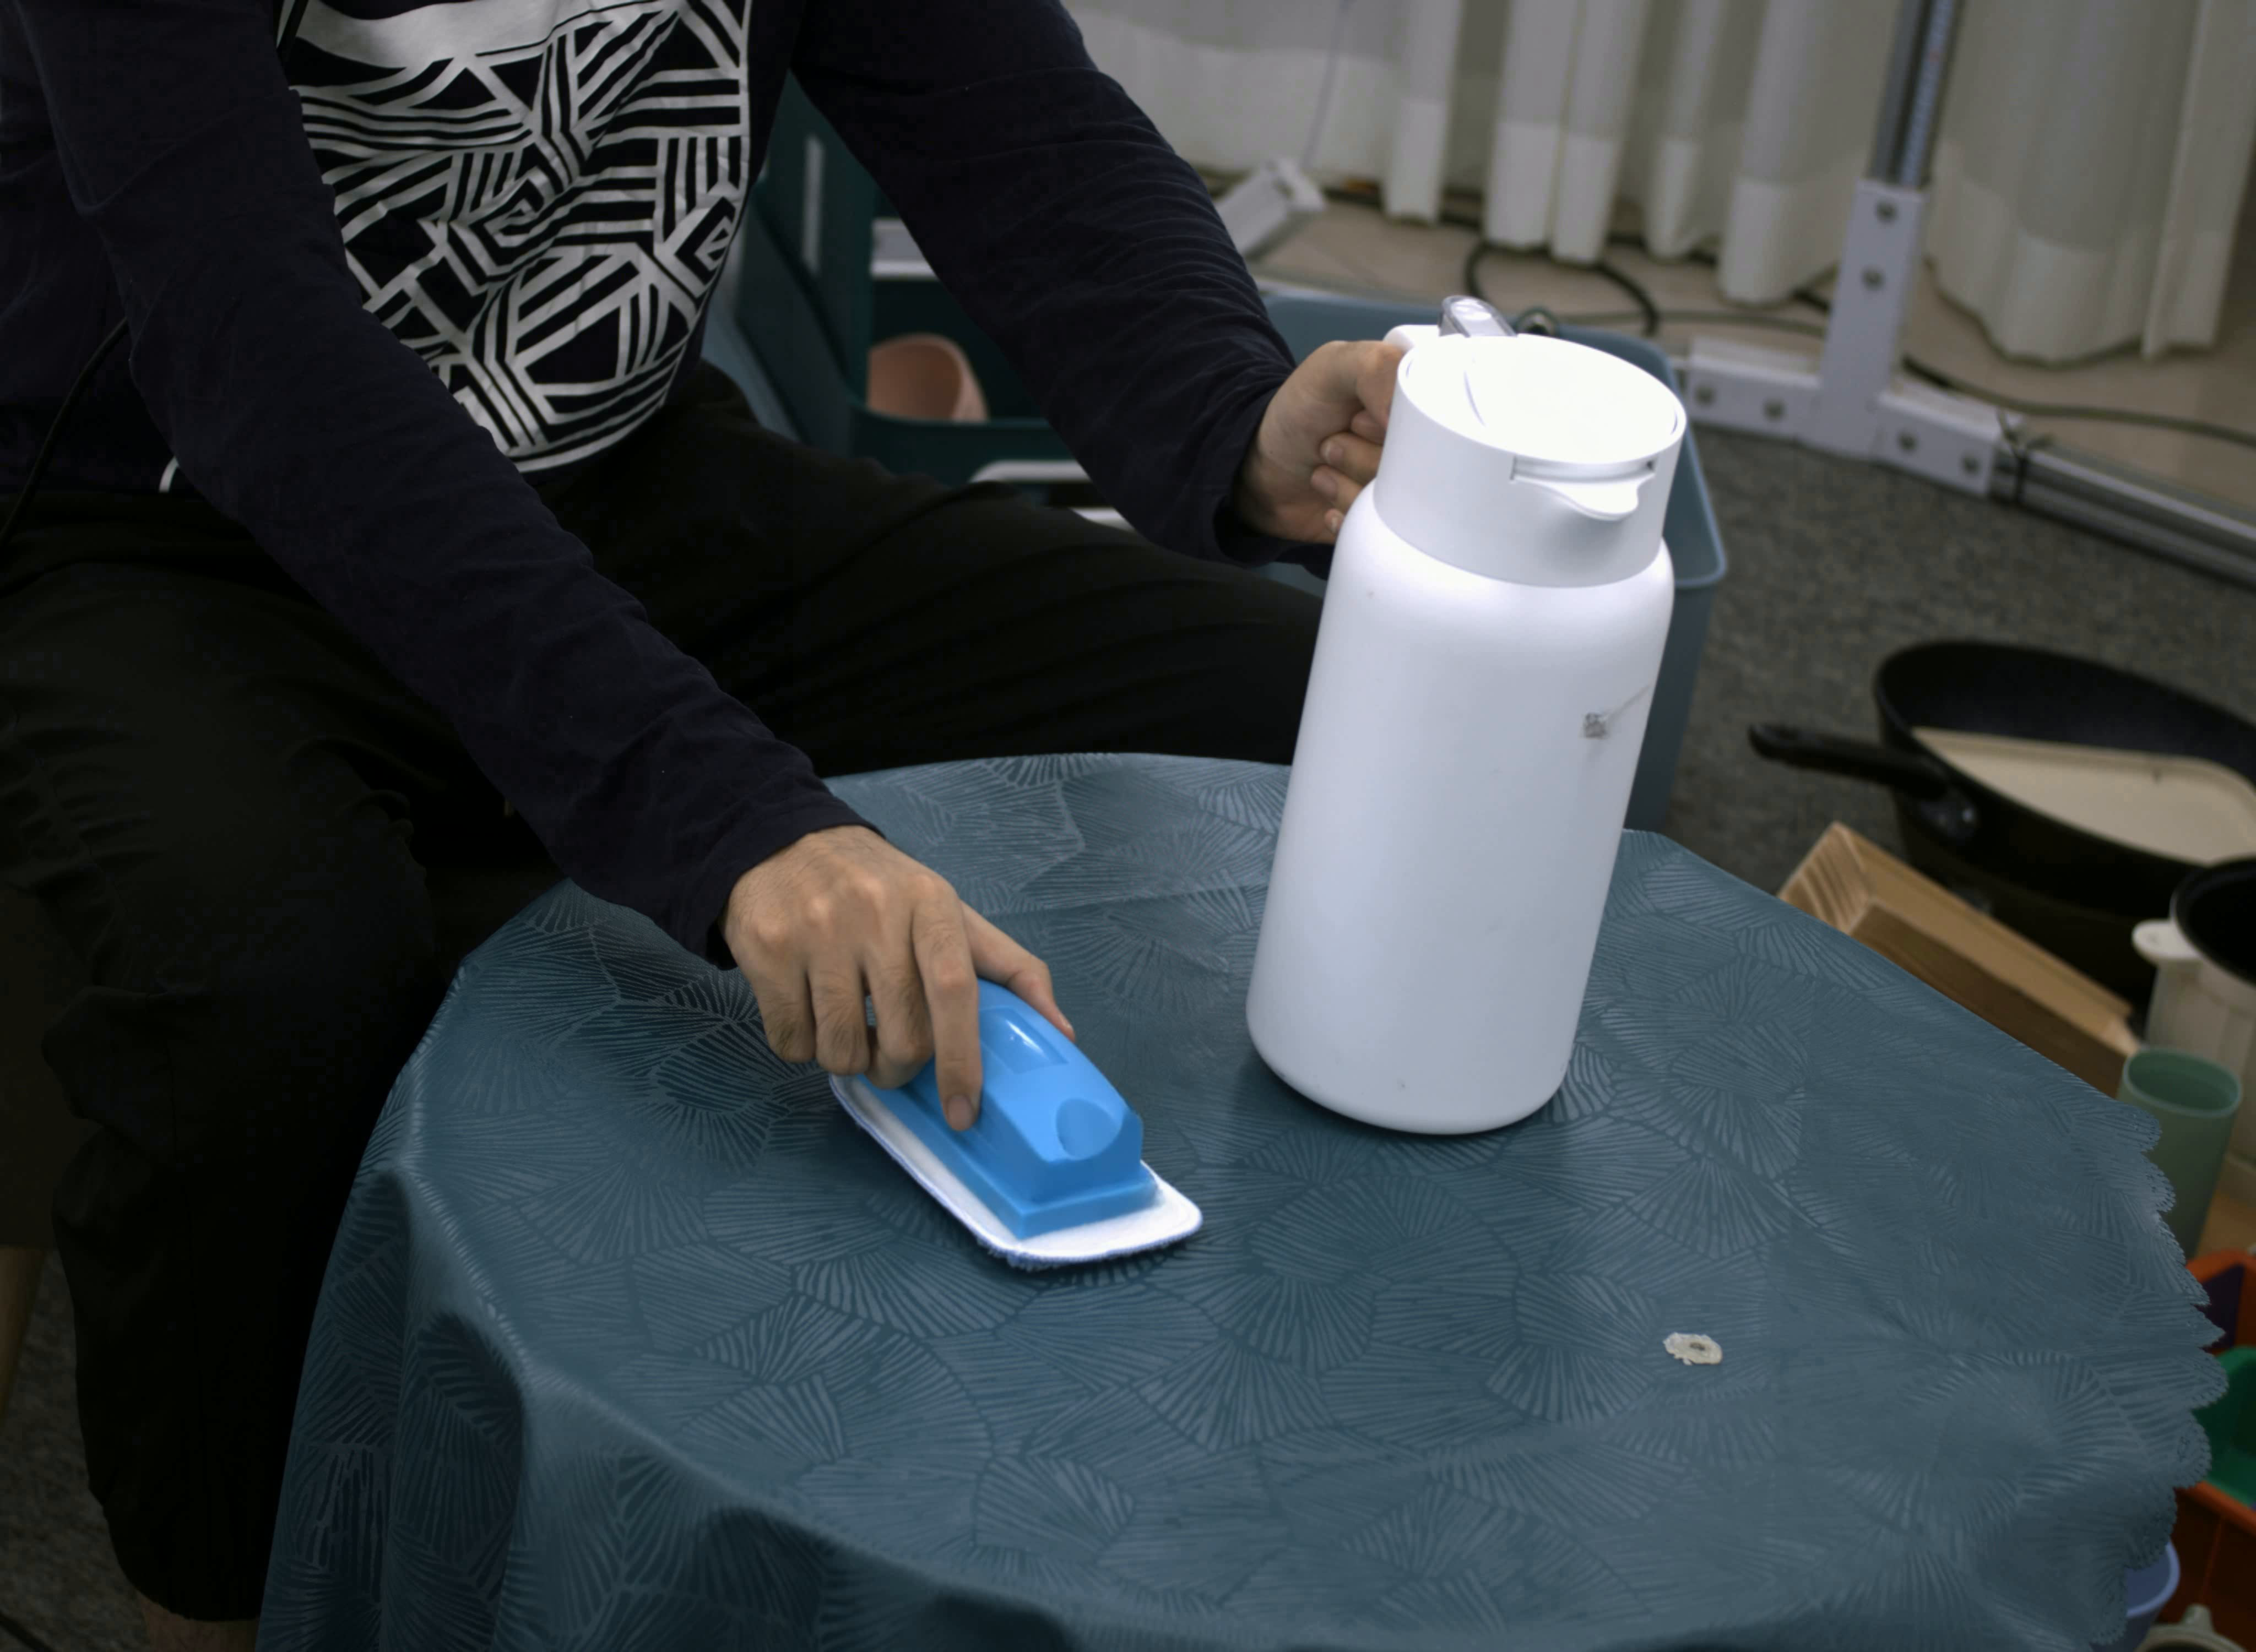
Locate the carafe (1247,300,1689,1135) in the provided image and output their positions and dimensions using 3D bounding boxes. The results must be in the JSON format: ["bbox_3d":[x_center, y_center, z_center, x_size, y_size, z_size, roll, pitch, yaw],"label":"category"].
[{"bbox_3d":[0.112,-0.041,1.853,0.123,0.268,0.174,-4,31,-21],"label":"carafe"}]

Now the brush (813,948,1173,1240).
[{"bbox_3d":[-0.043,0.086,1.802,0.083,0.056,0.145,-5,32,-30],"label":"brush"}]
